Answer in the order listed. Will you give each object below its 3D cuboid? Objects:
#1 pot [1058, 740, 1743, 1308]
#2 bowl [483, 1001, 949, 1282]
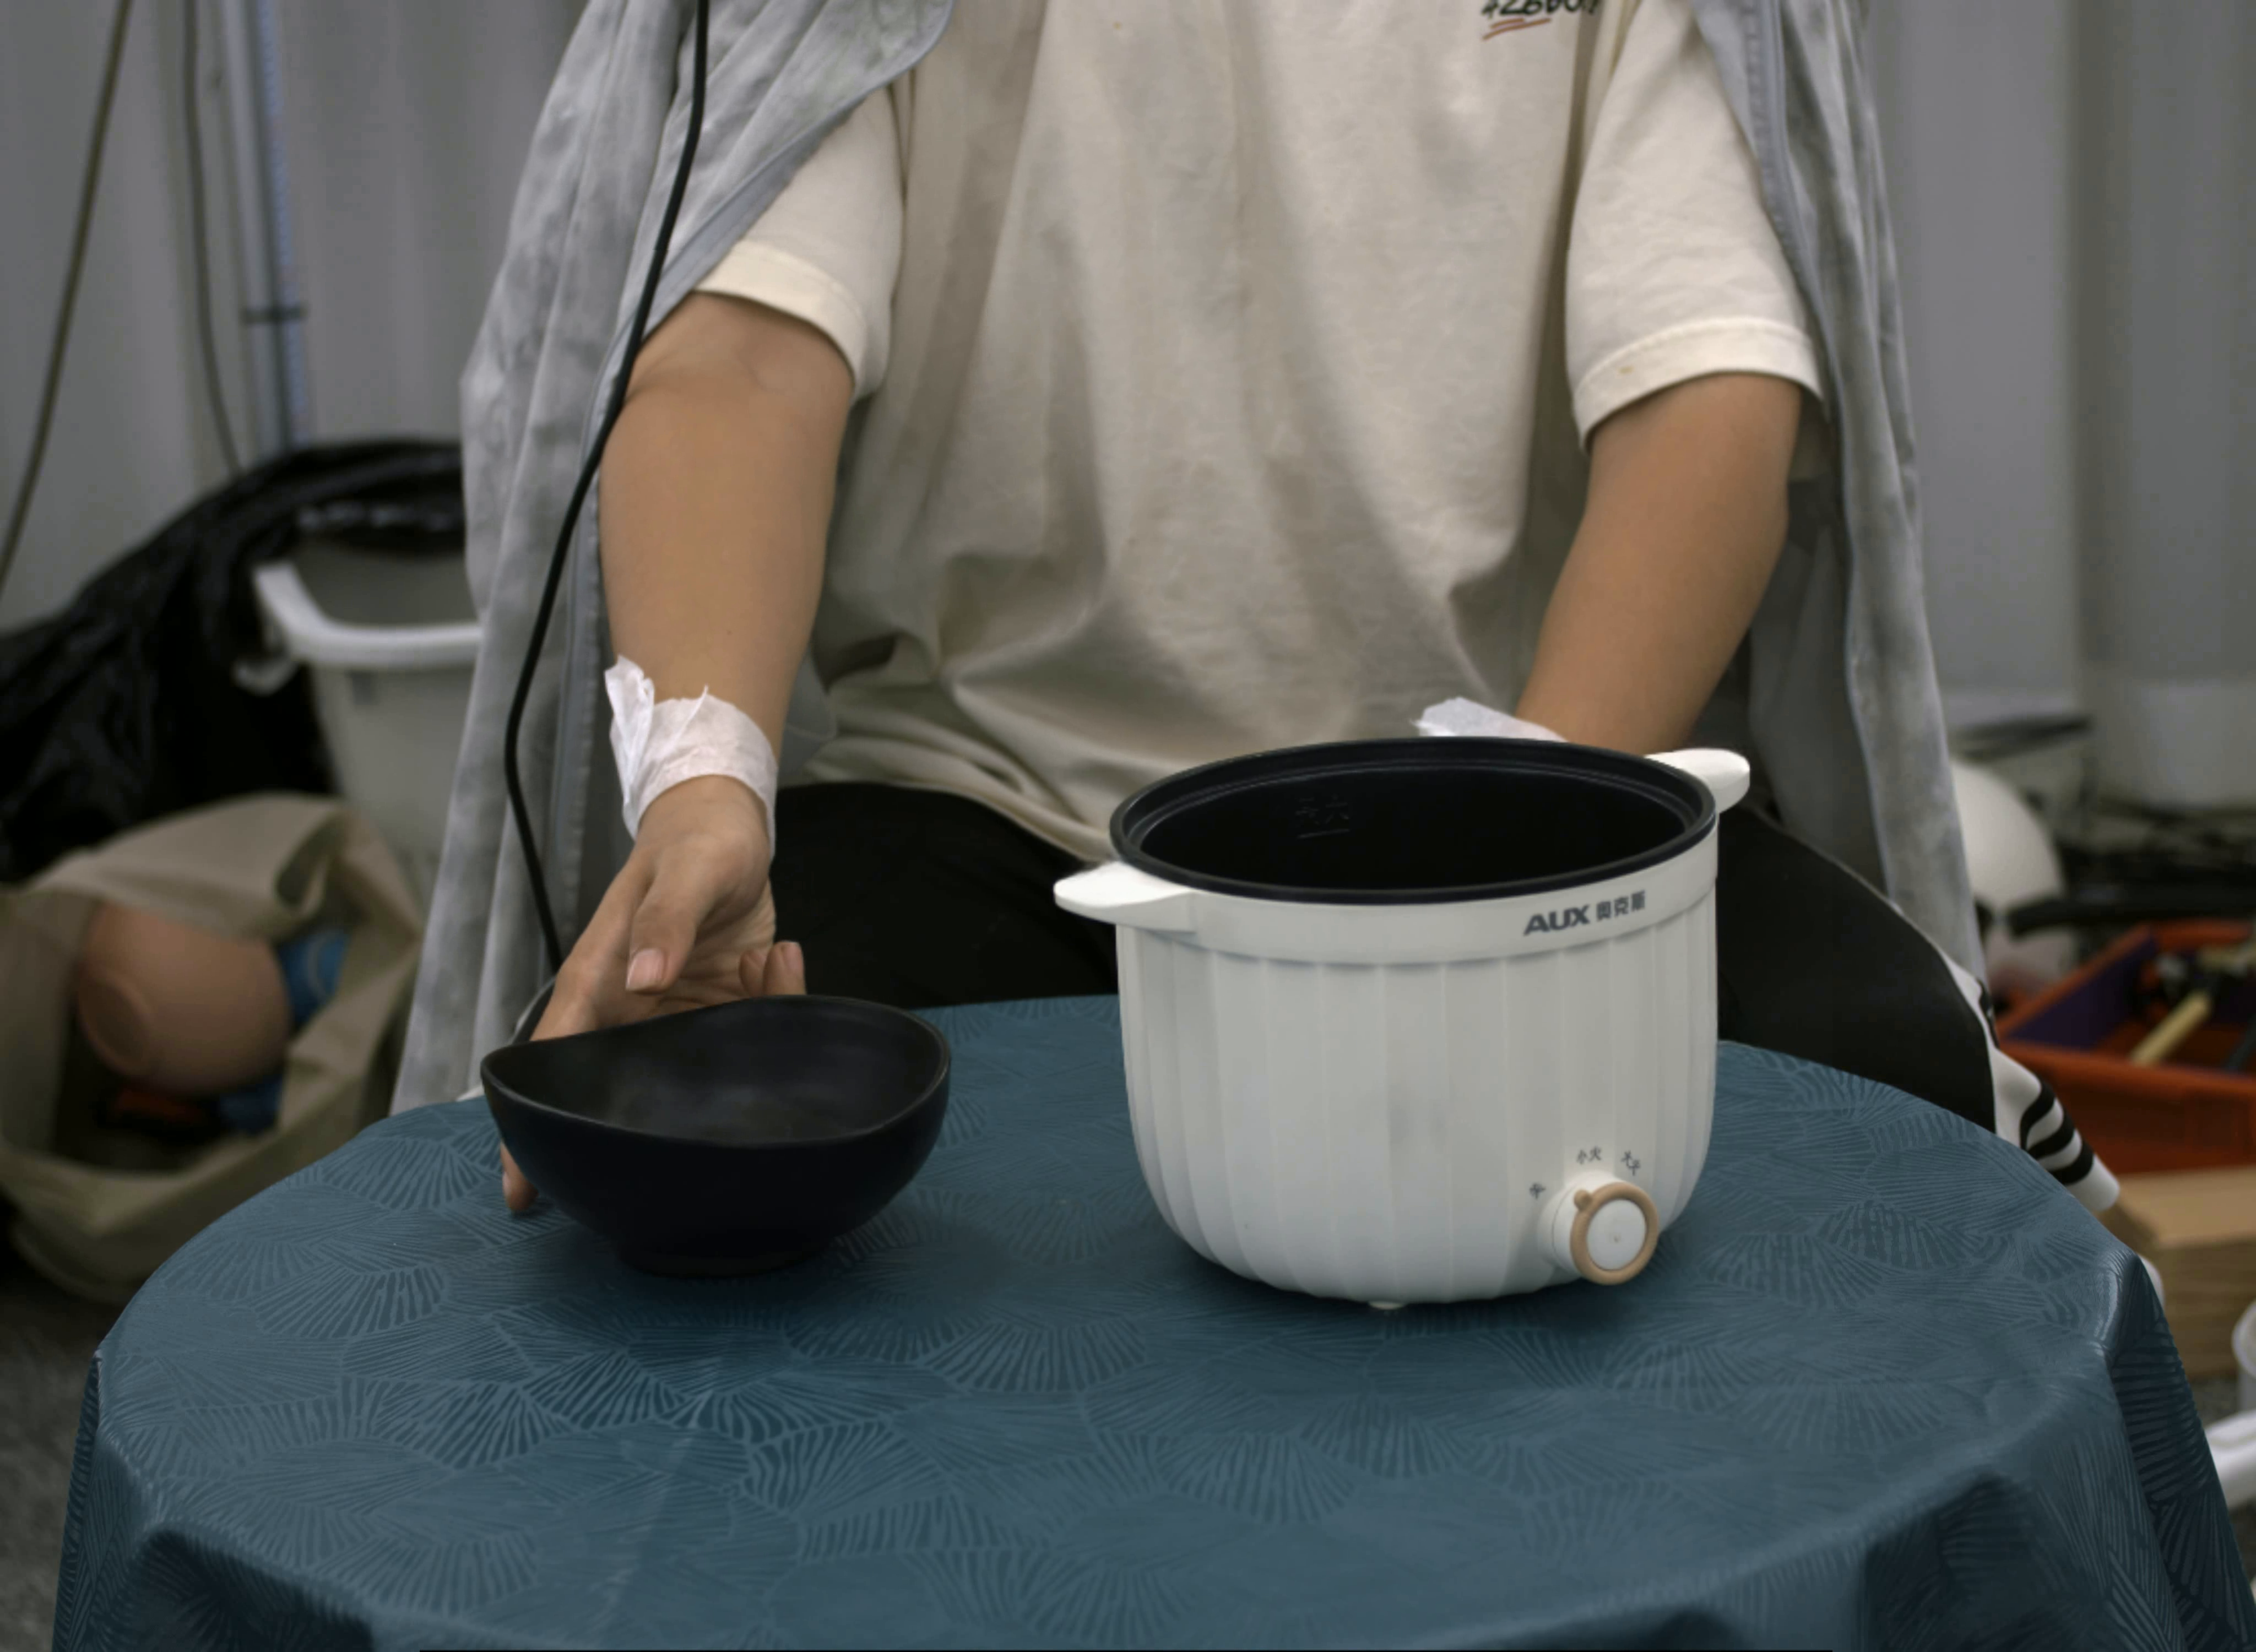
[{"bbox_3d":[0.091,0.061,1.639,0.239,0.142,0.191,-12,14,-29],"label":"pot"},{"bbox_3d":[-0.127,0.100,1.677,0.137,0.066,0.171,-9,15,-30],"label":"bowl"}]
